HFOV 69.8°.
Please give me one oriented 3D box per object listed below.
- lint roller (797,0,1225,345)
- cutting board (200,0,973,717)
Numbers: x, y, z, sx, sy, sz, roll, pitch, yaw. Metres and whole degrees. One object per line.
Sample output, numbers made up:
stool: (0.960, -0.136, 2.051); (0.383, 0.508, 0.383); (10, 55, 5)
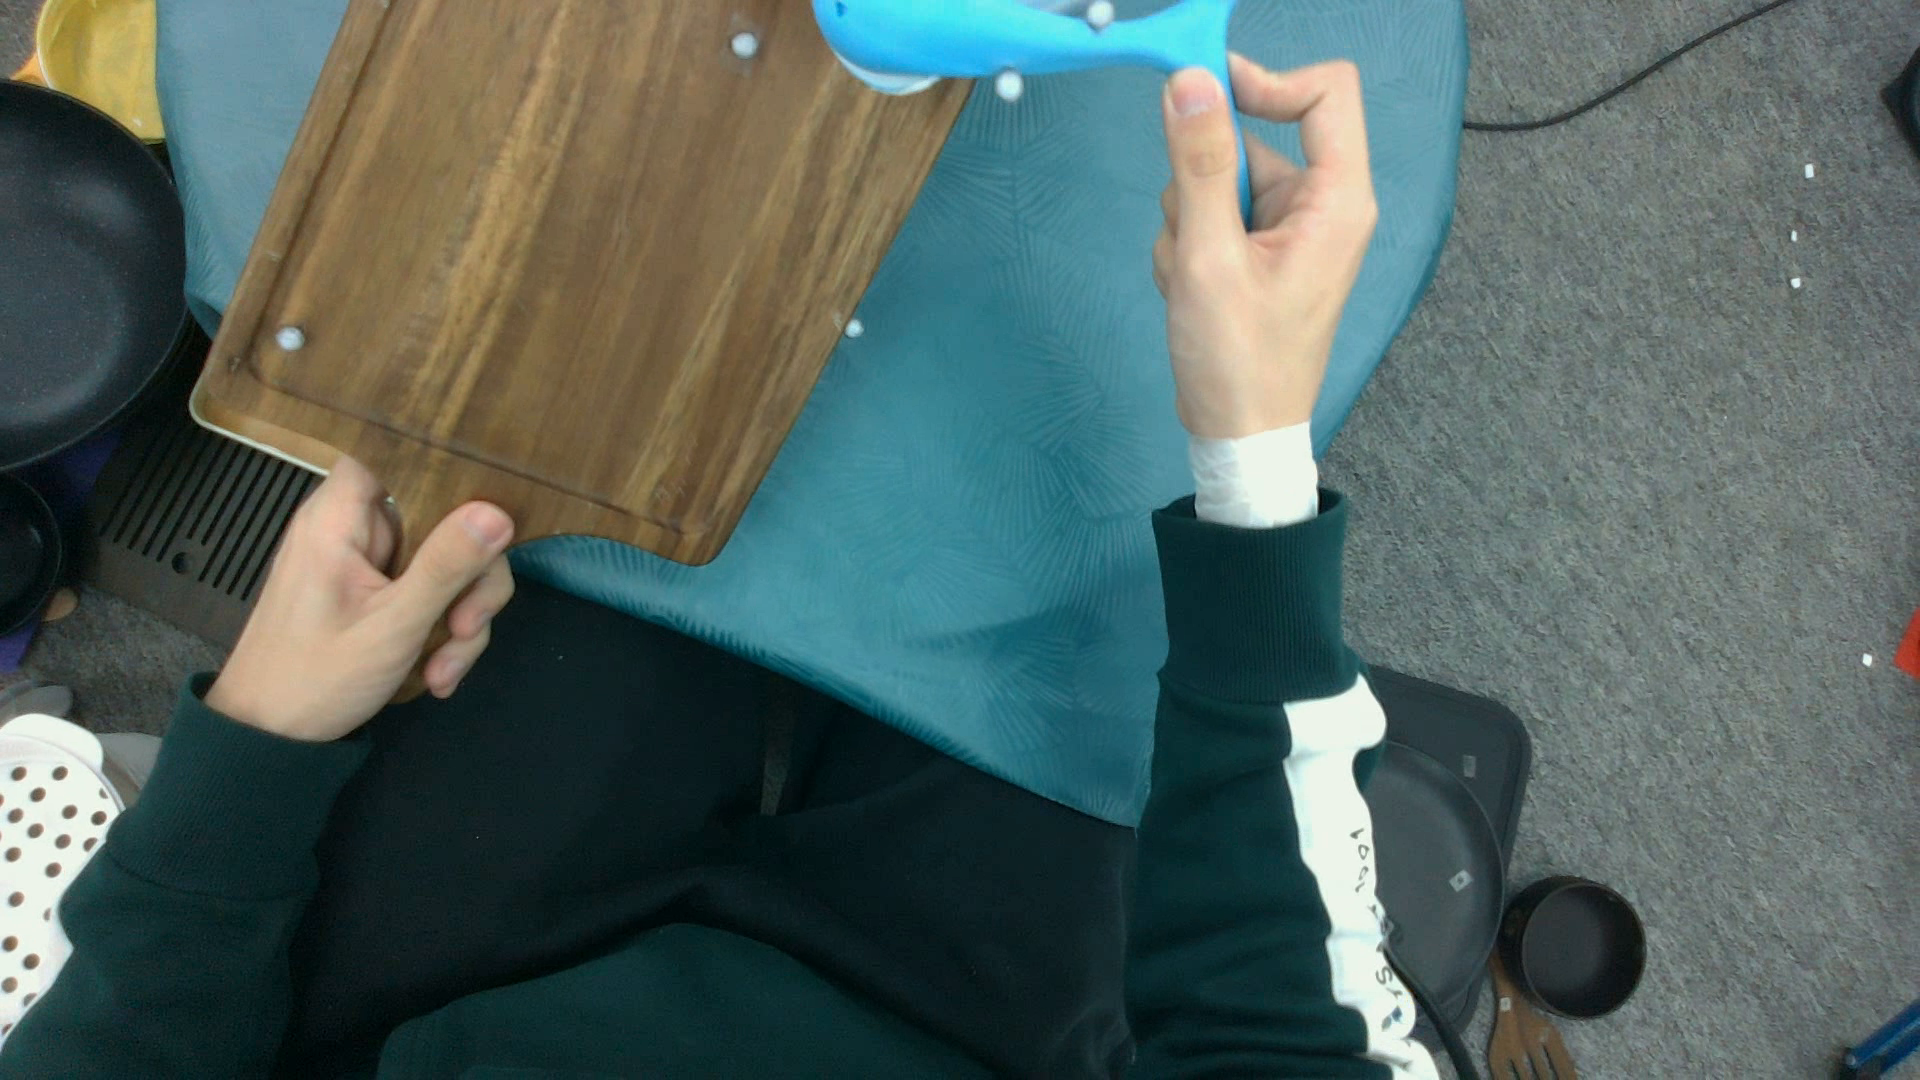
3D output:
lint roller: (0.057, -0.159, 0.494); (0.180, 0.067, 0.230); (53, 44, -10)
cutting board: (-0.153, -0.082, 0.508); (0.201, 0.023, 0.351); (19, 108, -31)
